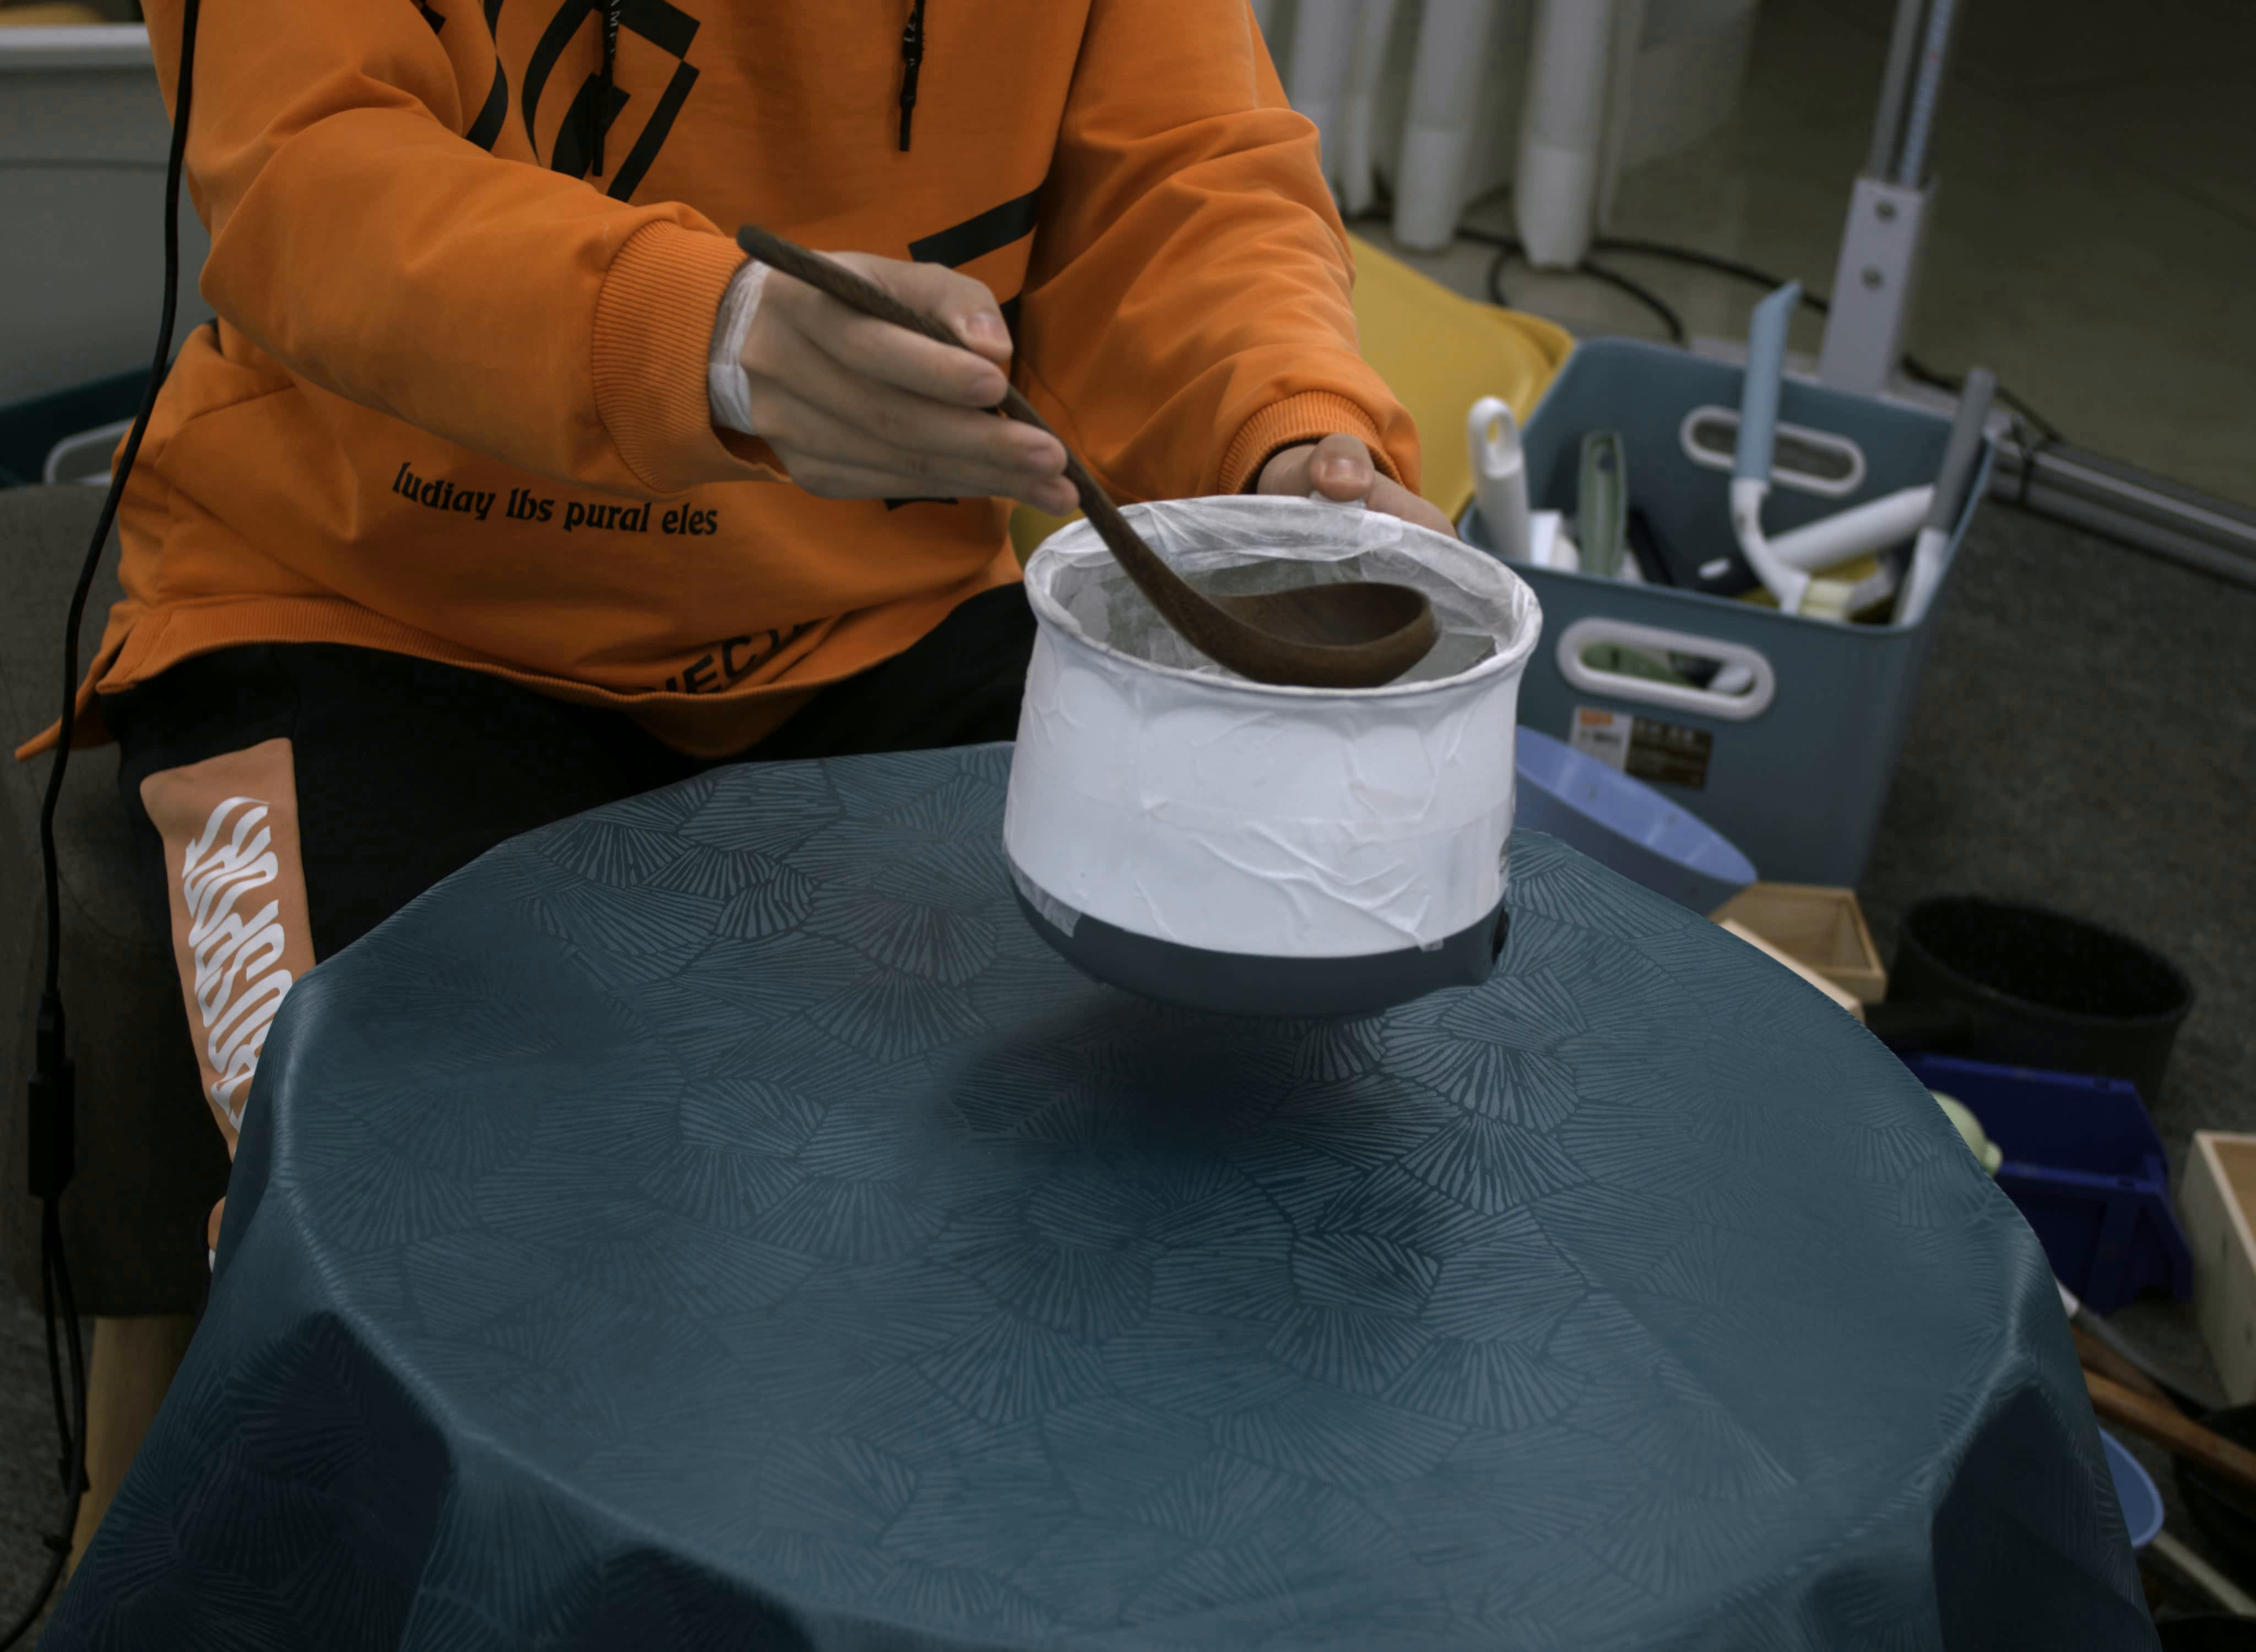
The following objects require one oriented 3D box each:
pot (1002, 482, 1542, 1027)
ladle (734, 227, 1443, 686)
[{"bbox_3d":[0.052,-0.033,1.854,0.178,0.136,0.234,9,24,8],"label":"pot"},{"bbox_3d":[-0.007,-0.131,1.738,0.272,0.071,0.076,41,-4,-24],"label":"ladle"}]
